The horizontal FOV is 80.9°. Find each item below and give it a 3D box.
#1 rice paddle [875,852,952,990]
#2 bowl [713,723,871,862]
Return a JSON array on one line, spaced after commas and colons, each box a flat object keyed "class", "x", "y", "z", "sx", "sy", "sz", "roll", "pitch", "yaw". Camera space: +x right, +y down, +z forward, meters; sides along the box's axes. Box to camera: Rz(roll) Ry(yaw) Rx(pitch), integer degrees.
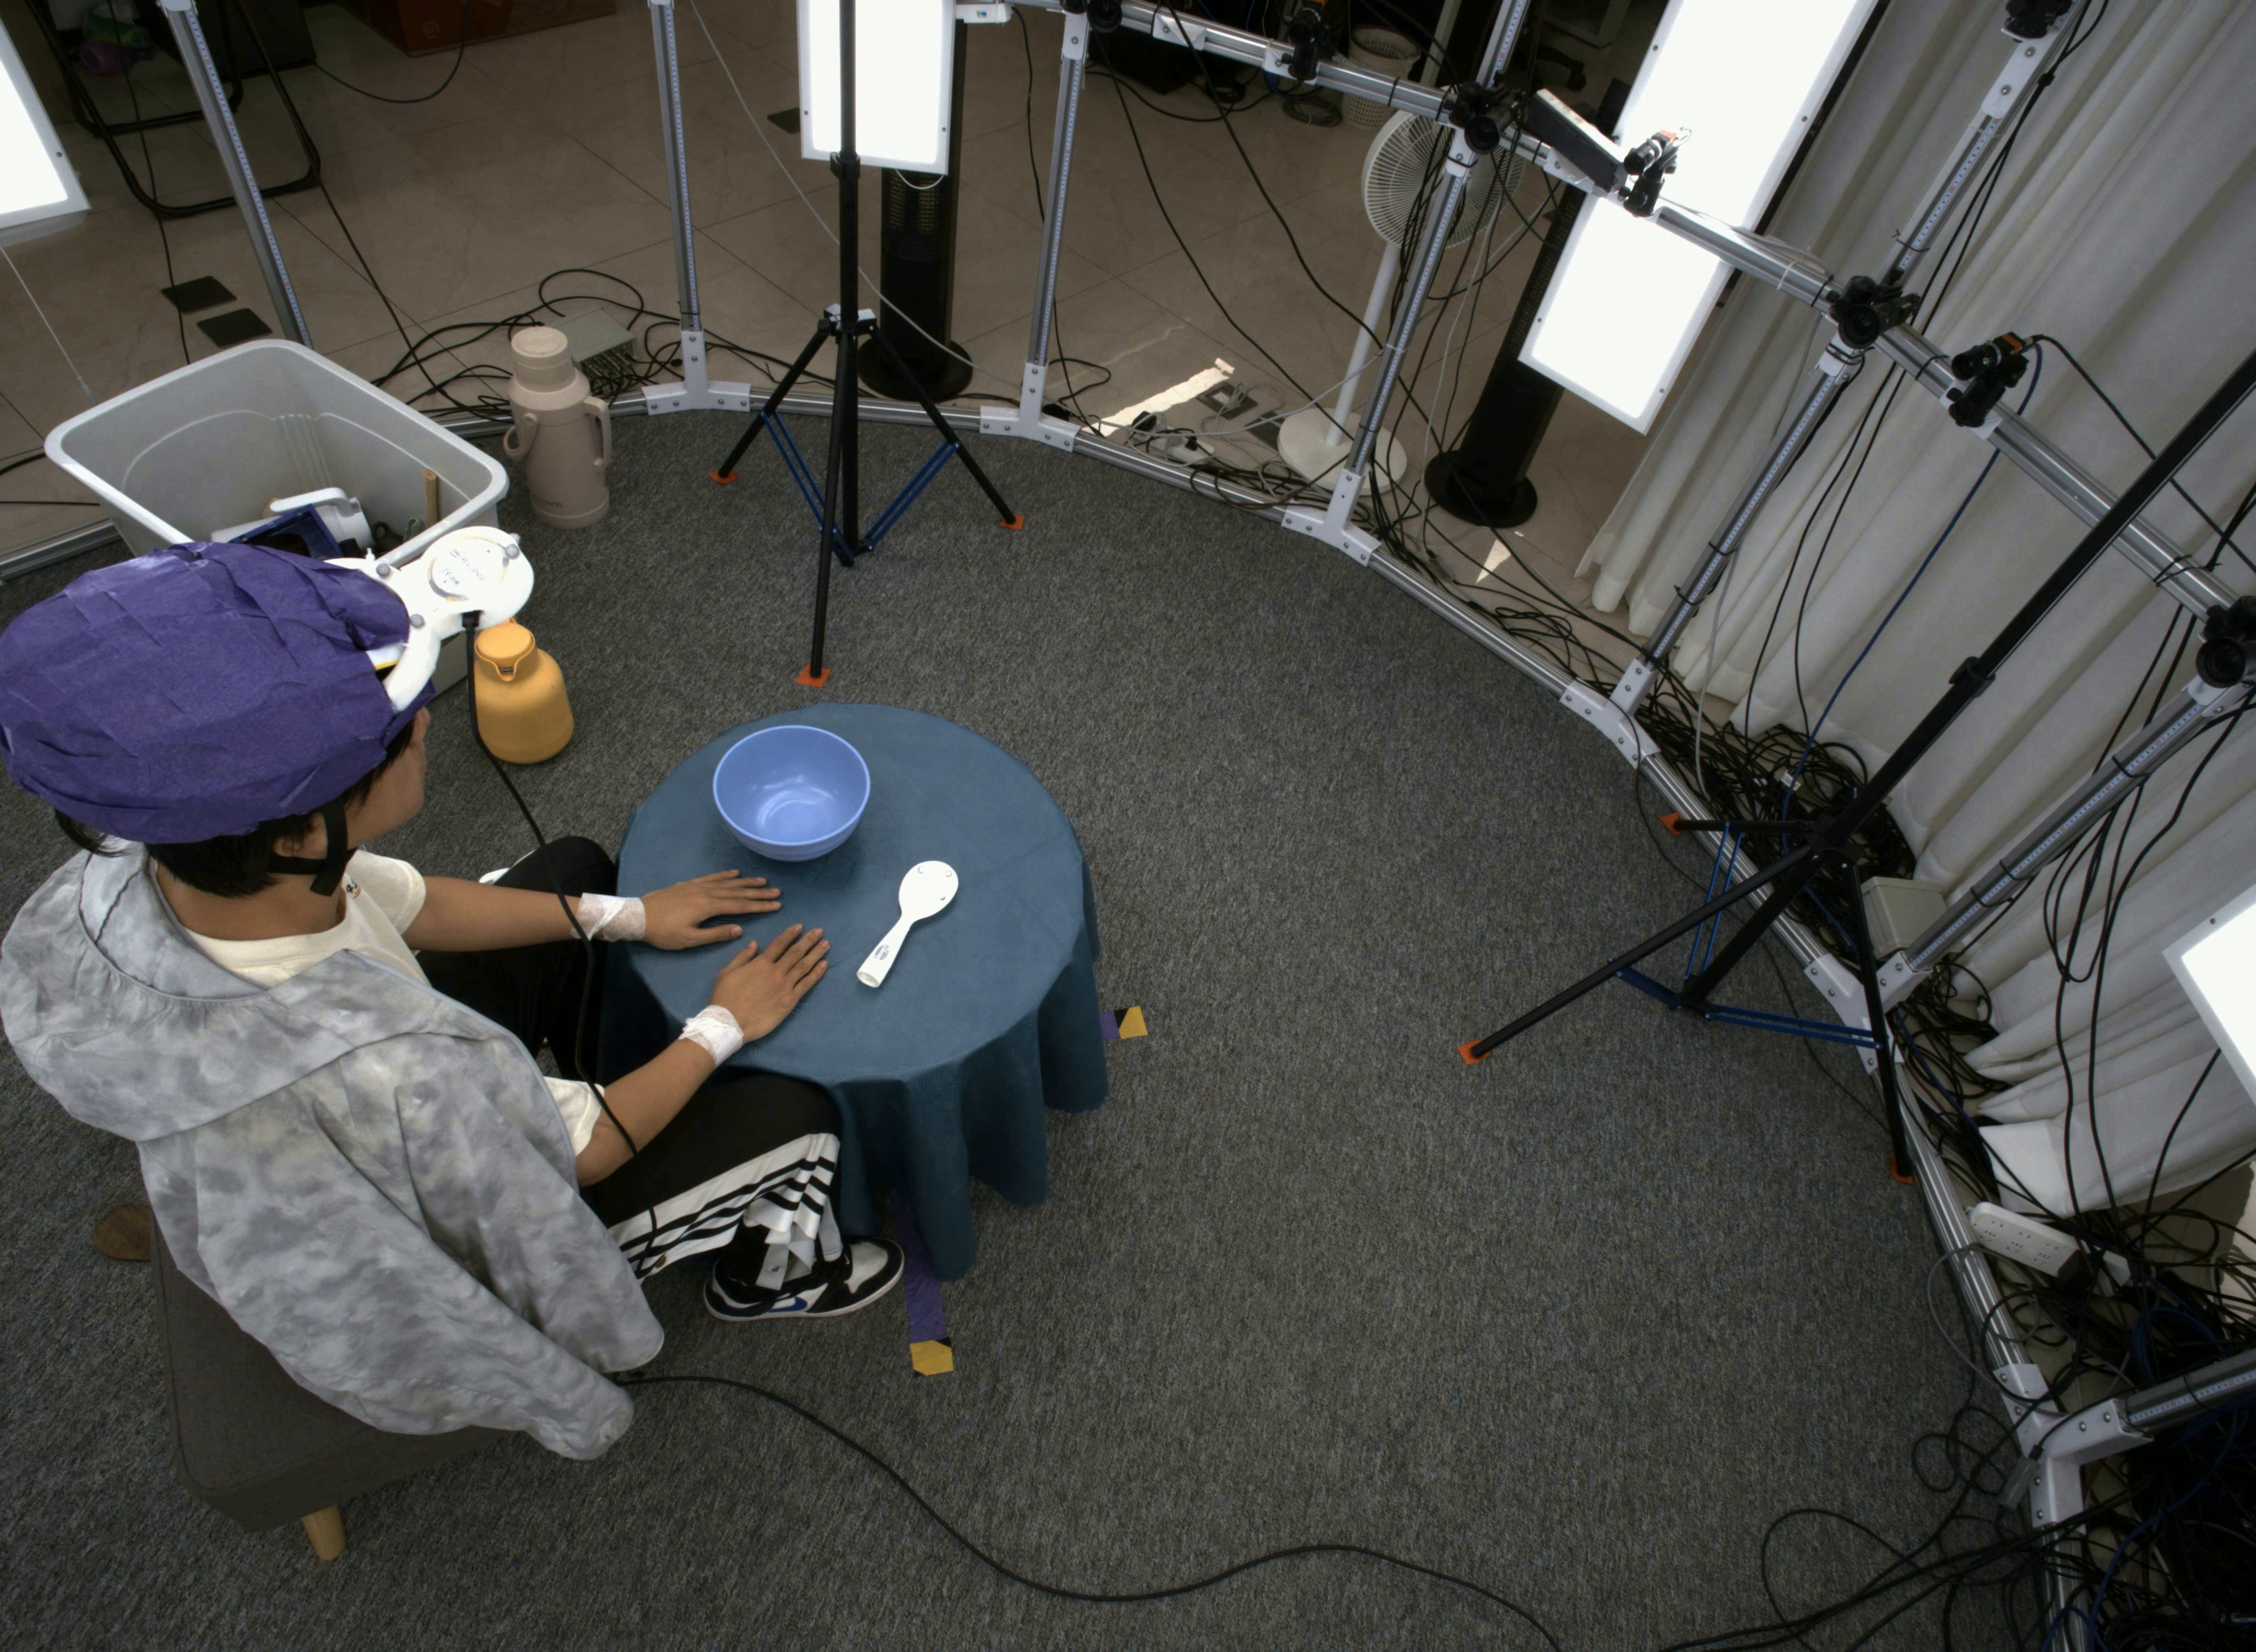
[{"class": "rice paddle", "x": -0.278, "y": 0.112, "z": 1.666, "sx": 0.067, "sy": 0.030, "sz": 0.203, "roll": 9, "pitch": 55, "yaw": 10}, {"class": "bowl", "x": -0.434, "y": -0.028, "z": 1.682, "sx": 0.196, "sy": 0.097, "sz": 0.193, "roll": 8, "pitch": 52, "yaw": -9}]
